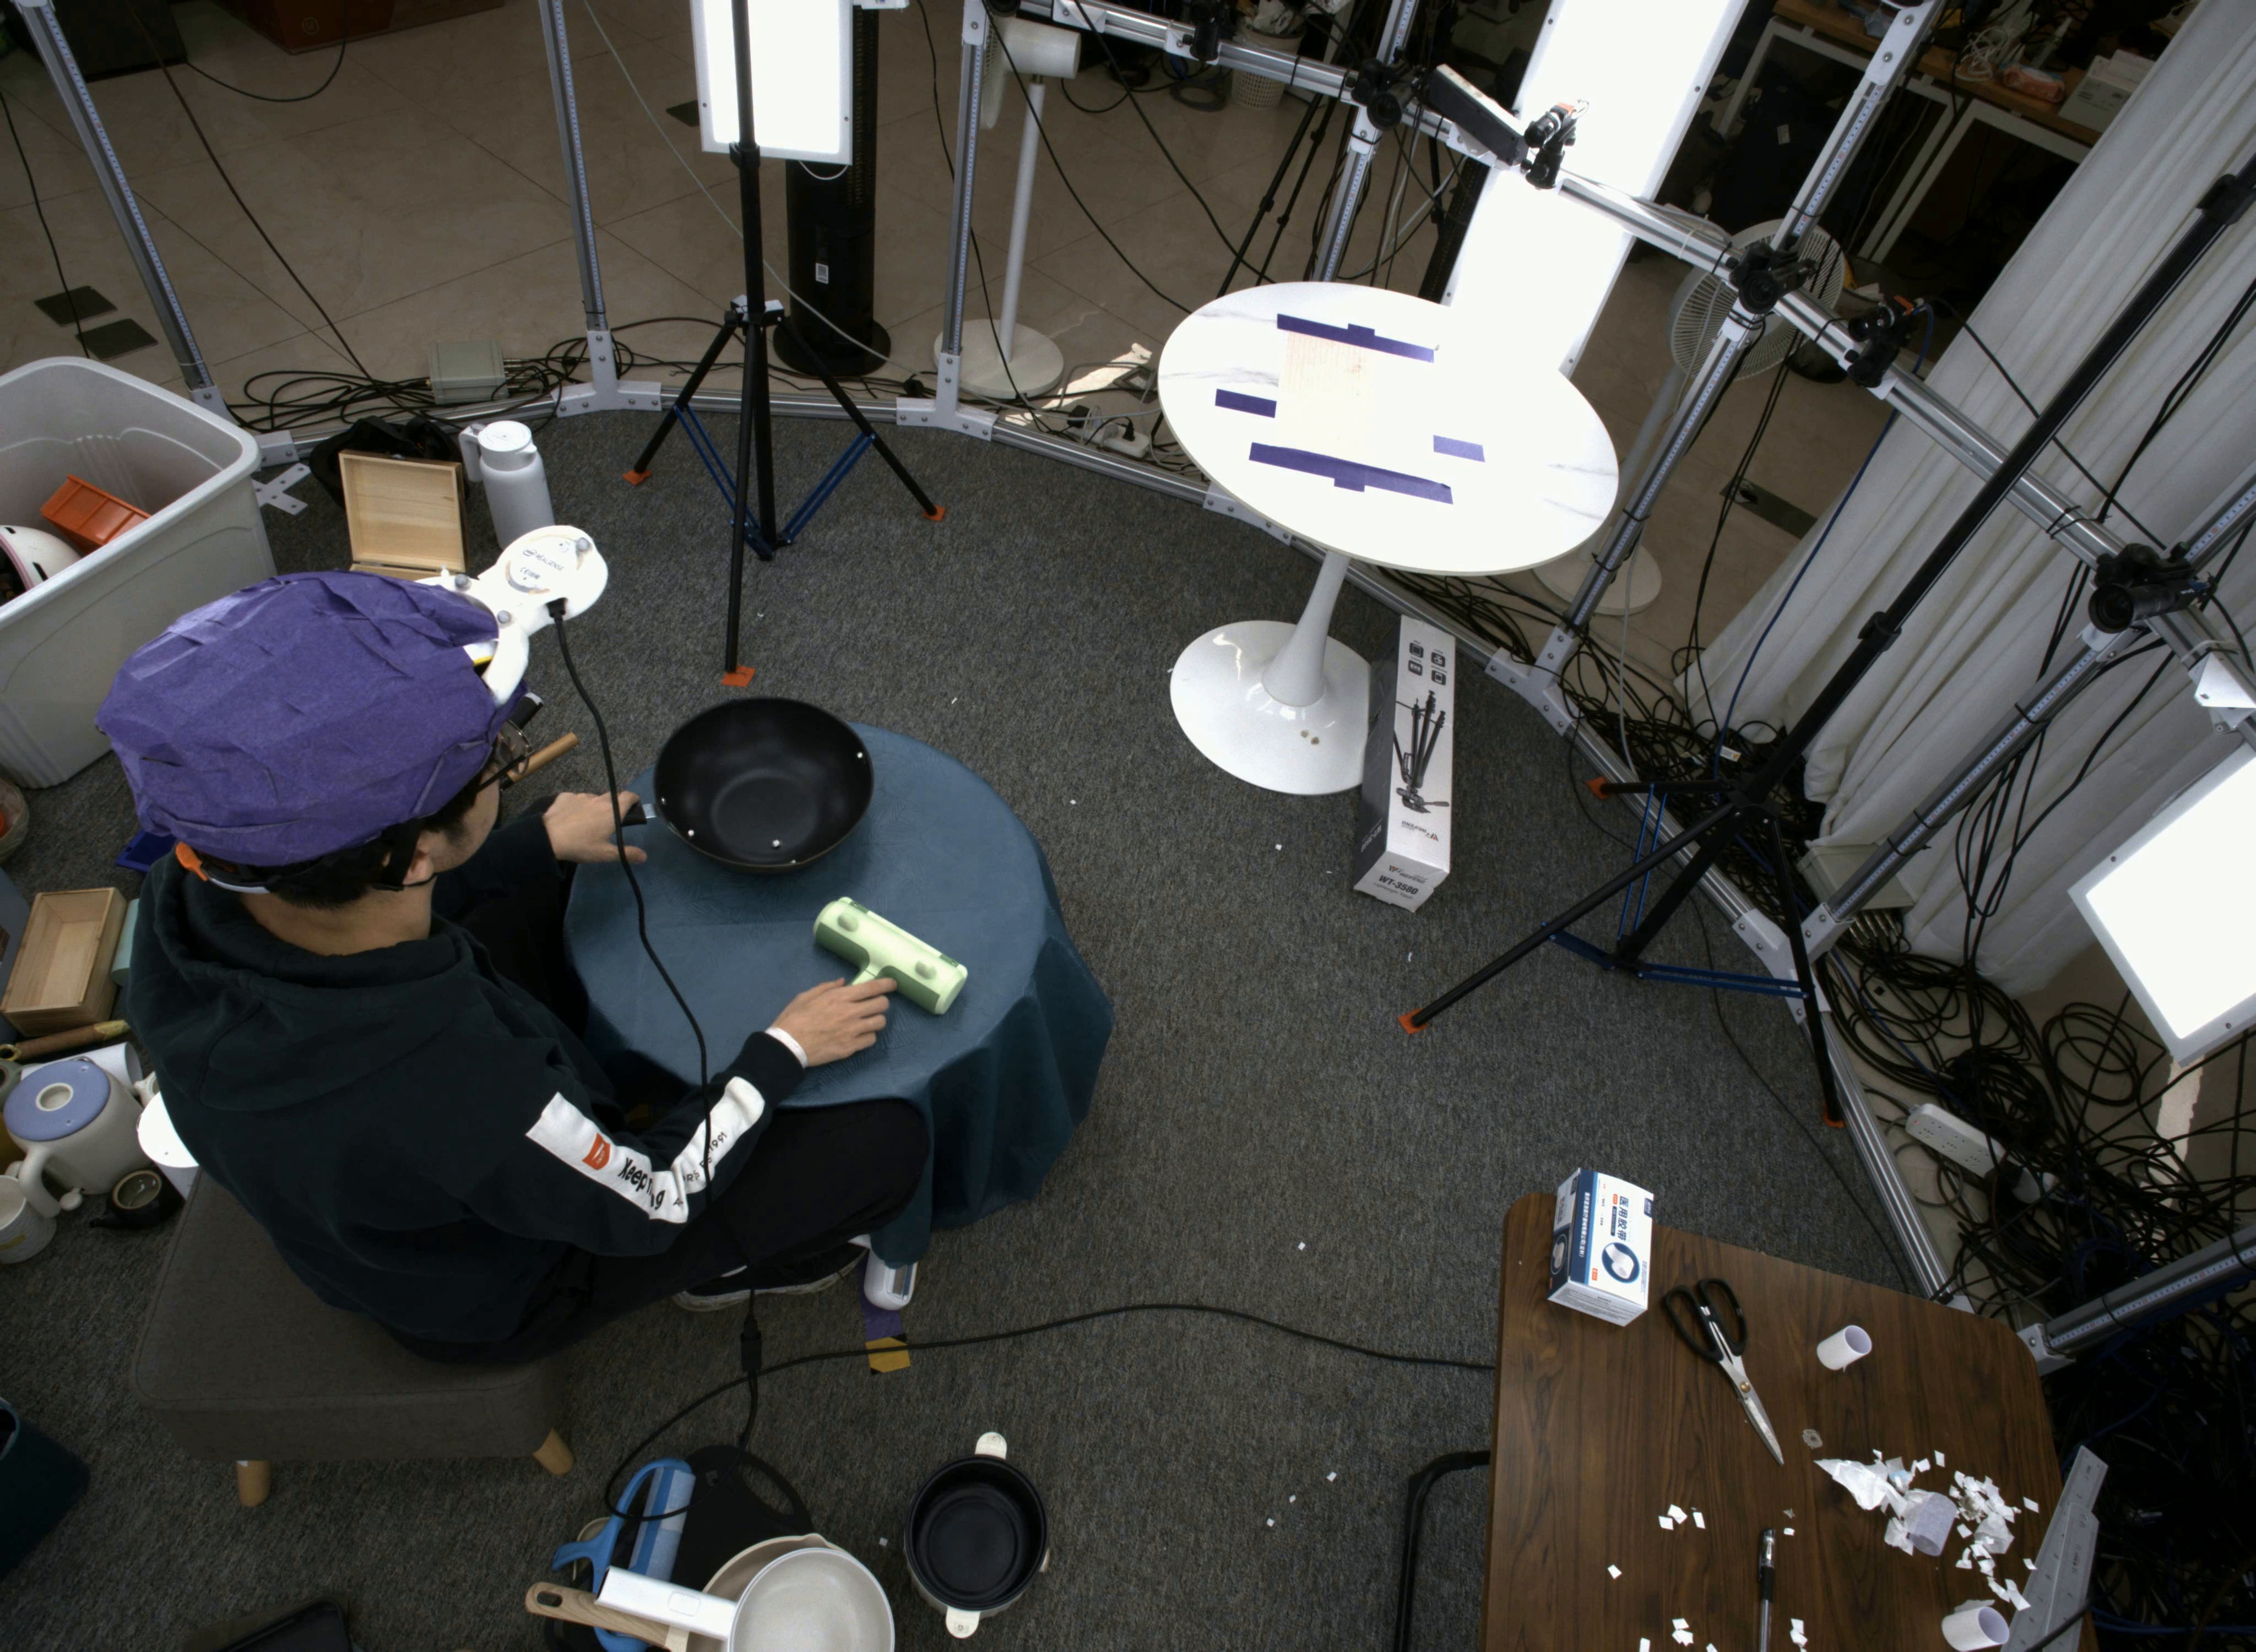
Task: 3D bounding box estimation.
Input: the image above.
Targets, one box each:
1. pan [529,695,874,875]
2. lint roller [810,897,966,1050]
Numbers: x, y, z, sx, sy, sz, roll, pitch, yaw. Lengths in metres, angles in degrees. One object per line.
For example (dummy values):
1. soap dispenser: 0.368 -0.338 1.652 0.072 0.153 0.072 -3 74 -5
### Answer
1. pan: -0.552 -0.017 1.654 0.465 0.088 0.281 -18 60 -24
2. lint roller: -0.323 0.186 1.571 0.195 0.084 0.182 30 47 8
